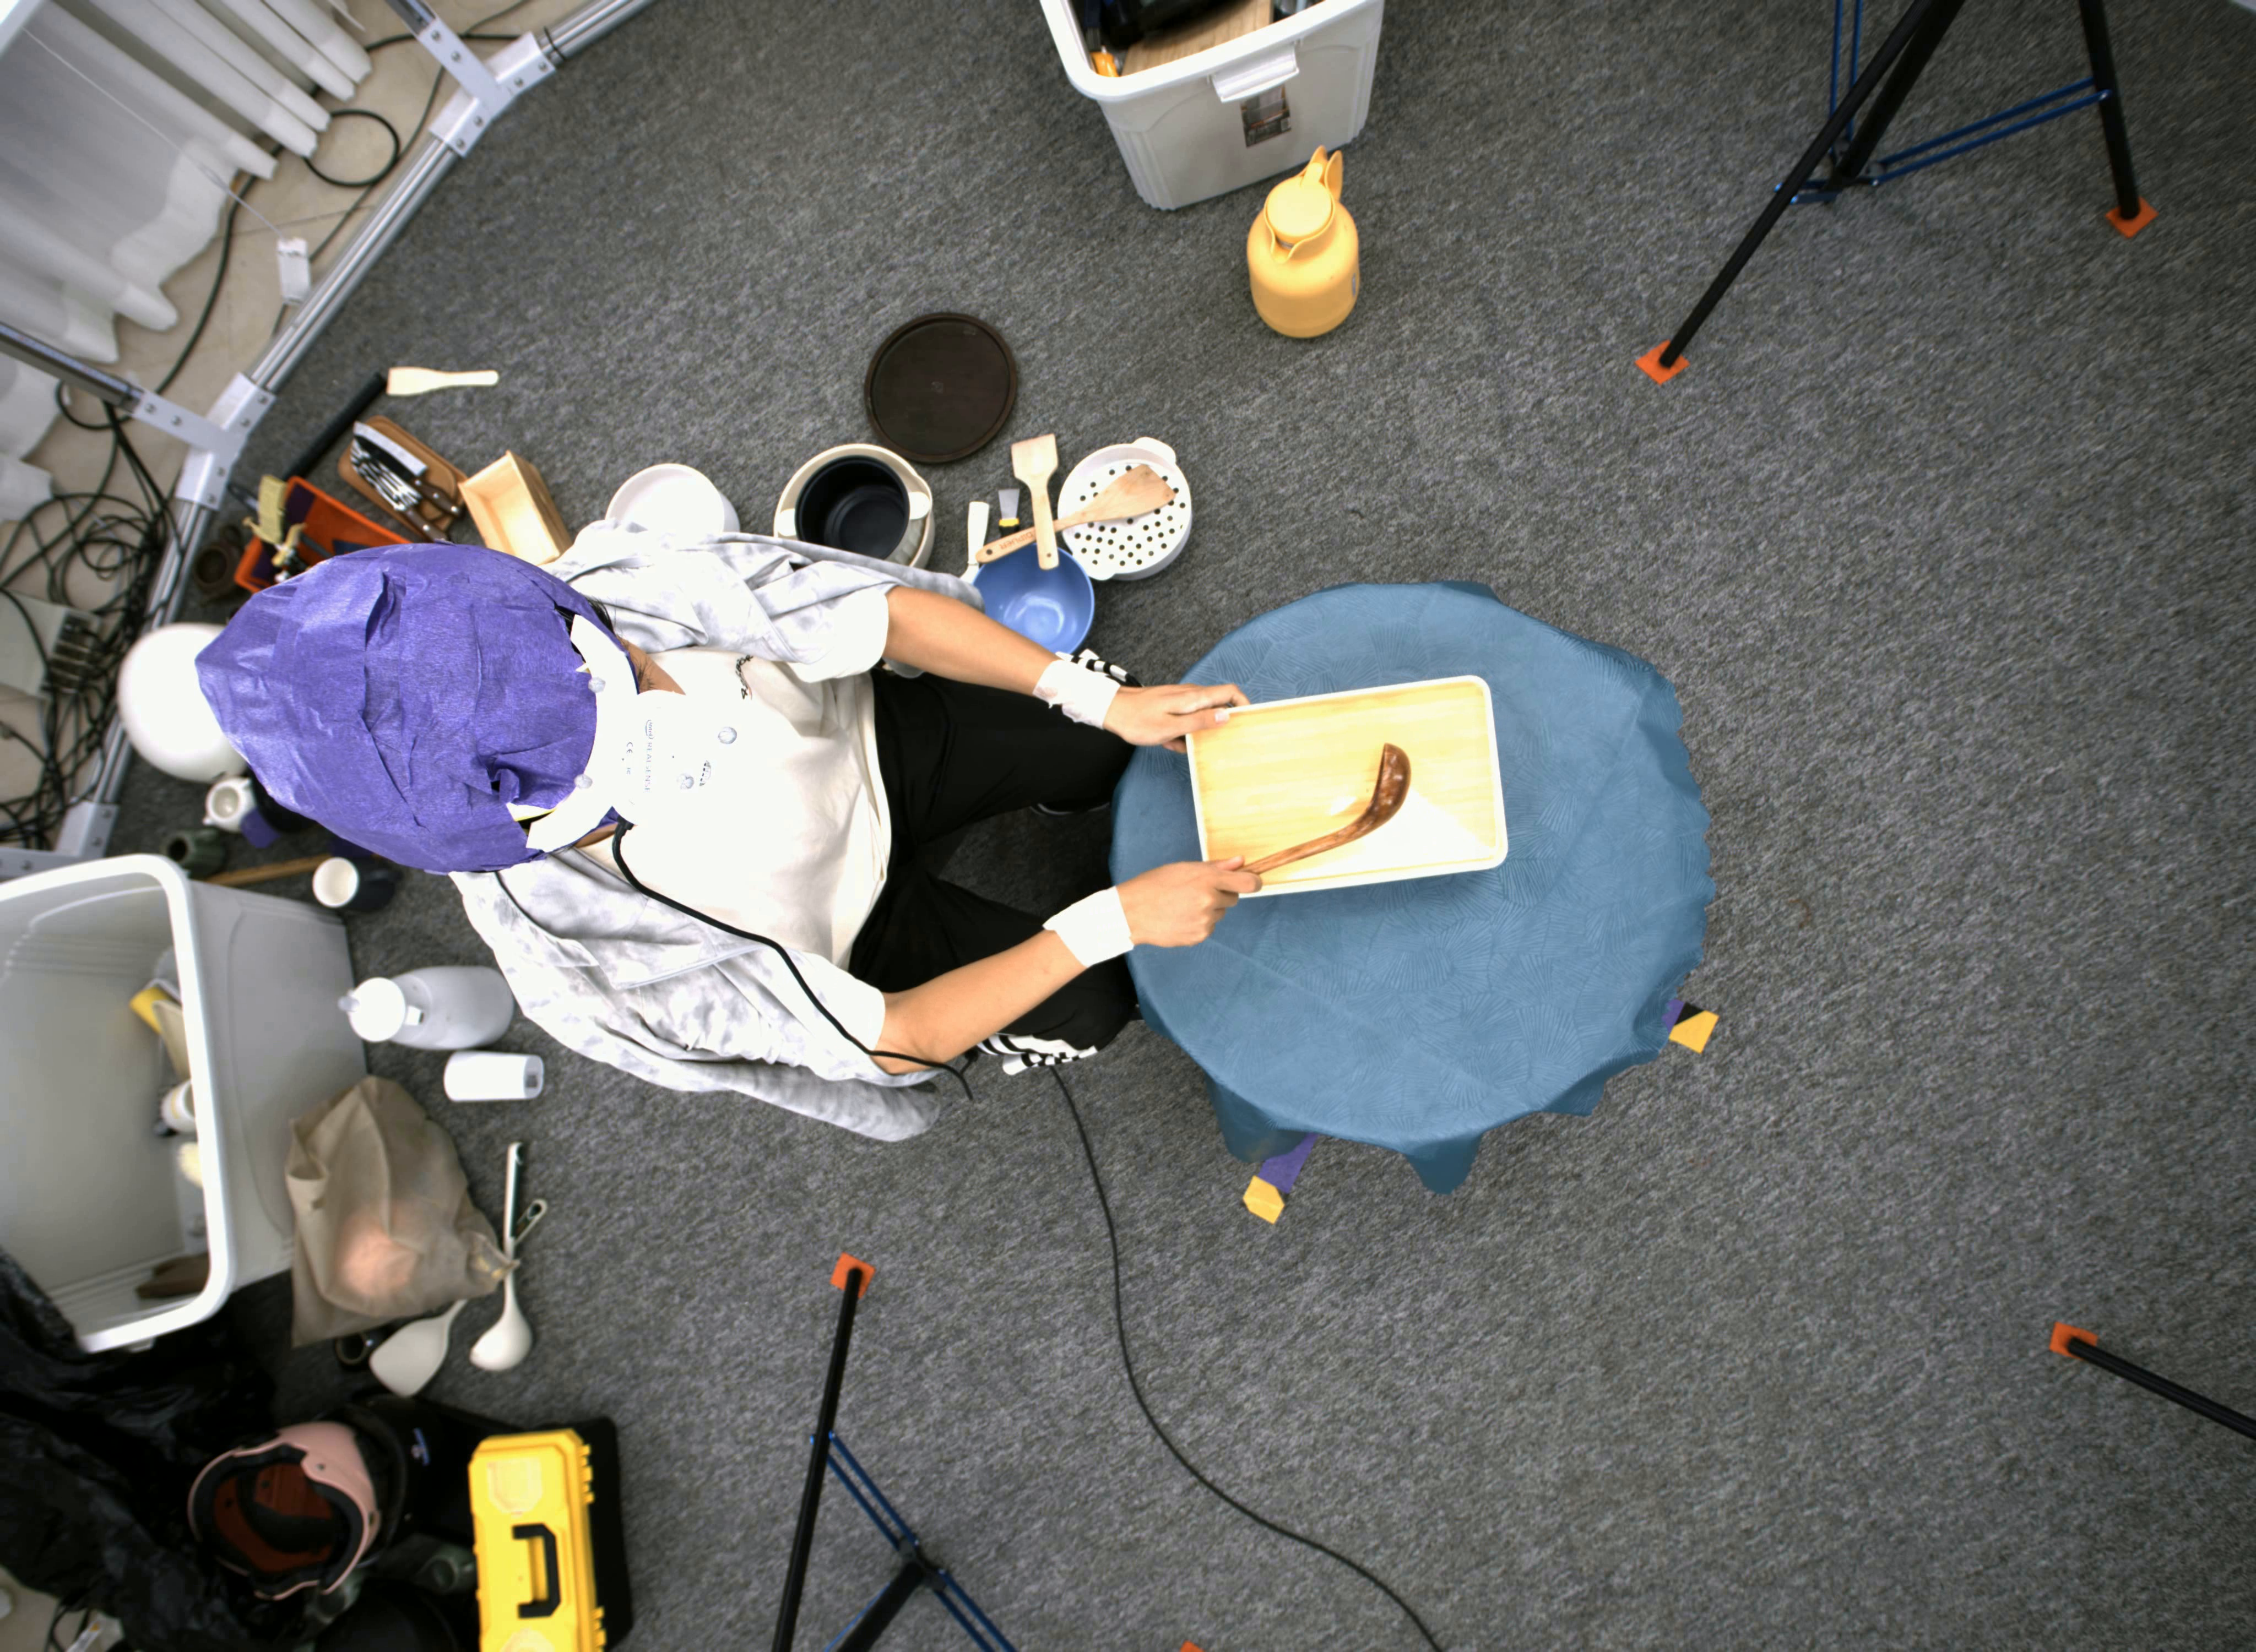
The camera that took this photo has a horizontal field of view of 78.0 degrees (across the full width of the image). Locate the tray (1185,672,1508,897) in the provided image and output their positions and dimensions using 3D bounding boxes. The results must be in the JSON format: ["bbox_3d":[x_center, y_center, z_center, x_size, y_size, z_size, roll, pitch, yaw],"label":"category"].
[{"bbox_3d":[0.216,-0.041,1.369,0.301,0.027,0.193,-7,99,9],"label":"tray"}]

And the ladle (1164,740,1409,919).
[{"bbox_3d":[0.147,0.002,1.332,0.276,0.082,0.076,-24,84,10],"label":"ladle"}]
